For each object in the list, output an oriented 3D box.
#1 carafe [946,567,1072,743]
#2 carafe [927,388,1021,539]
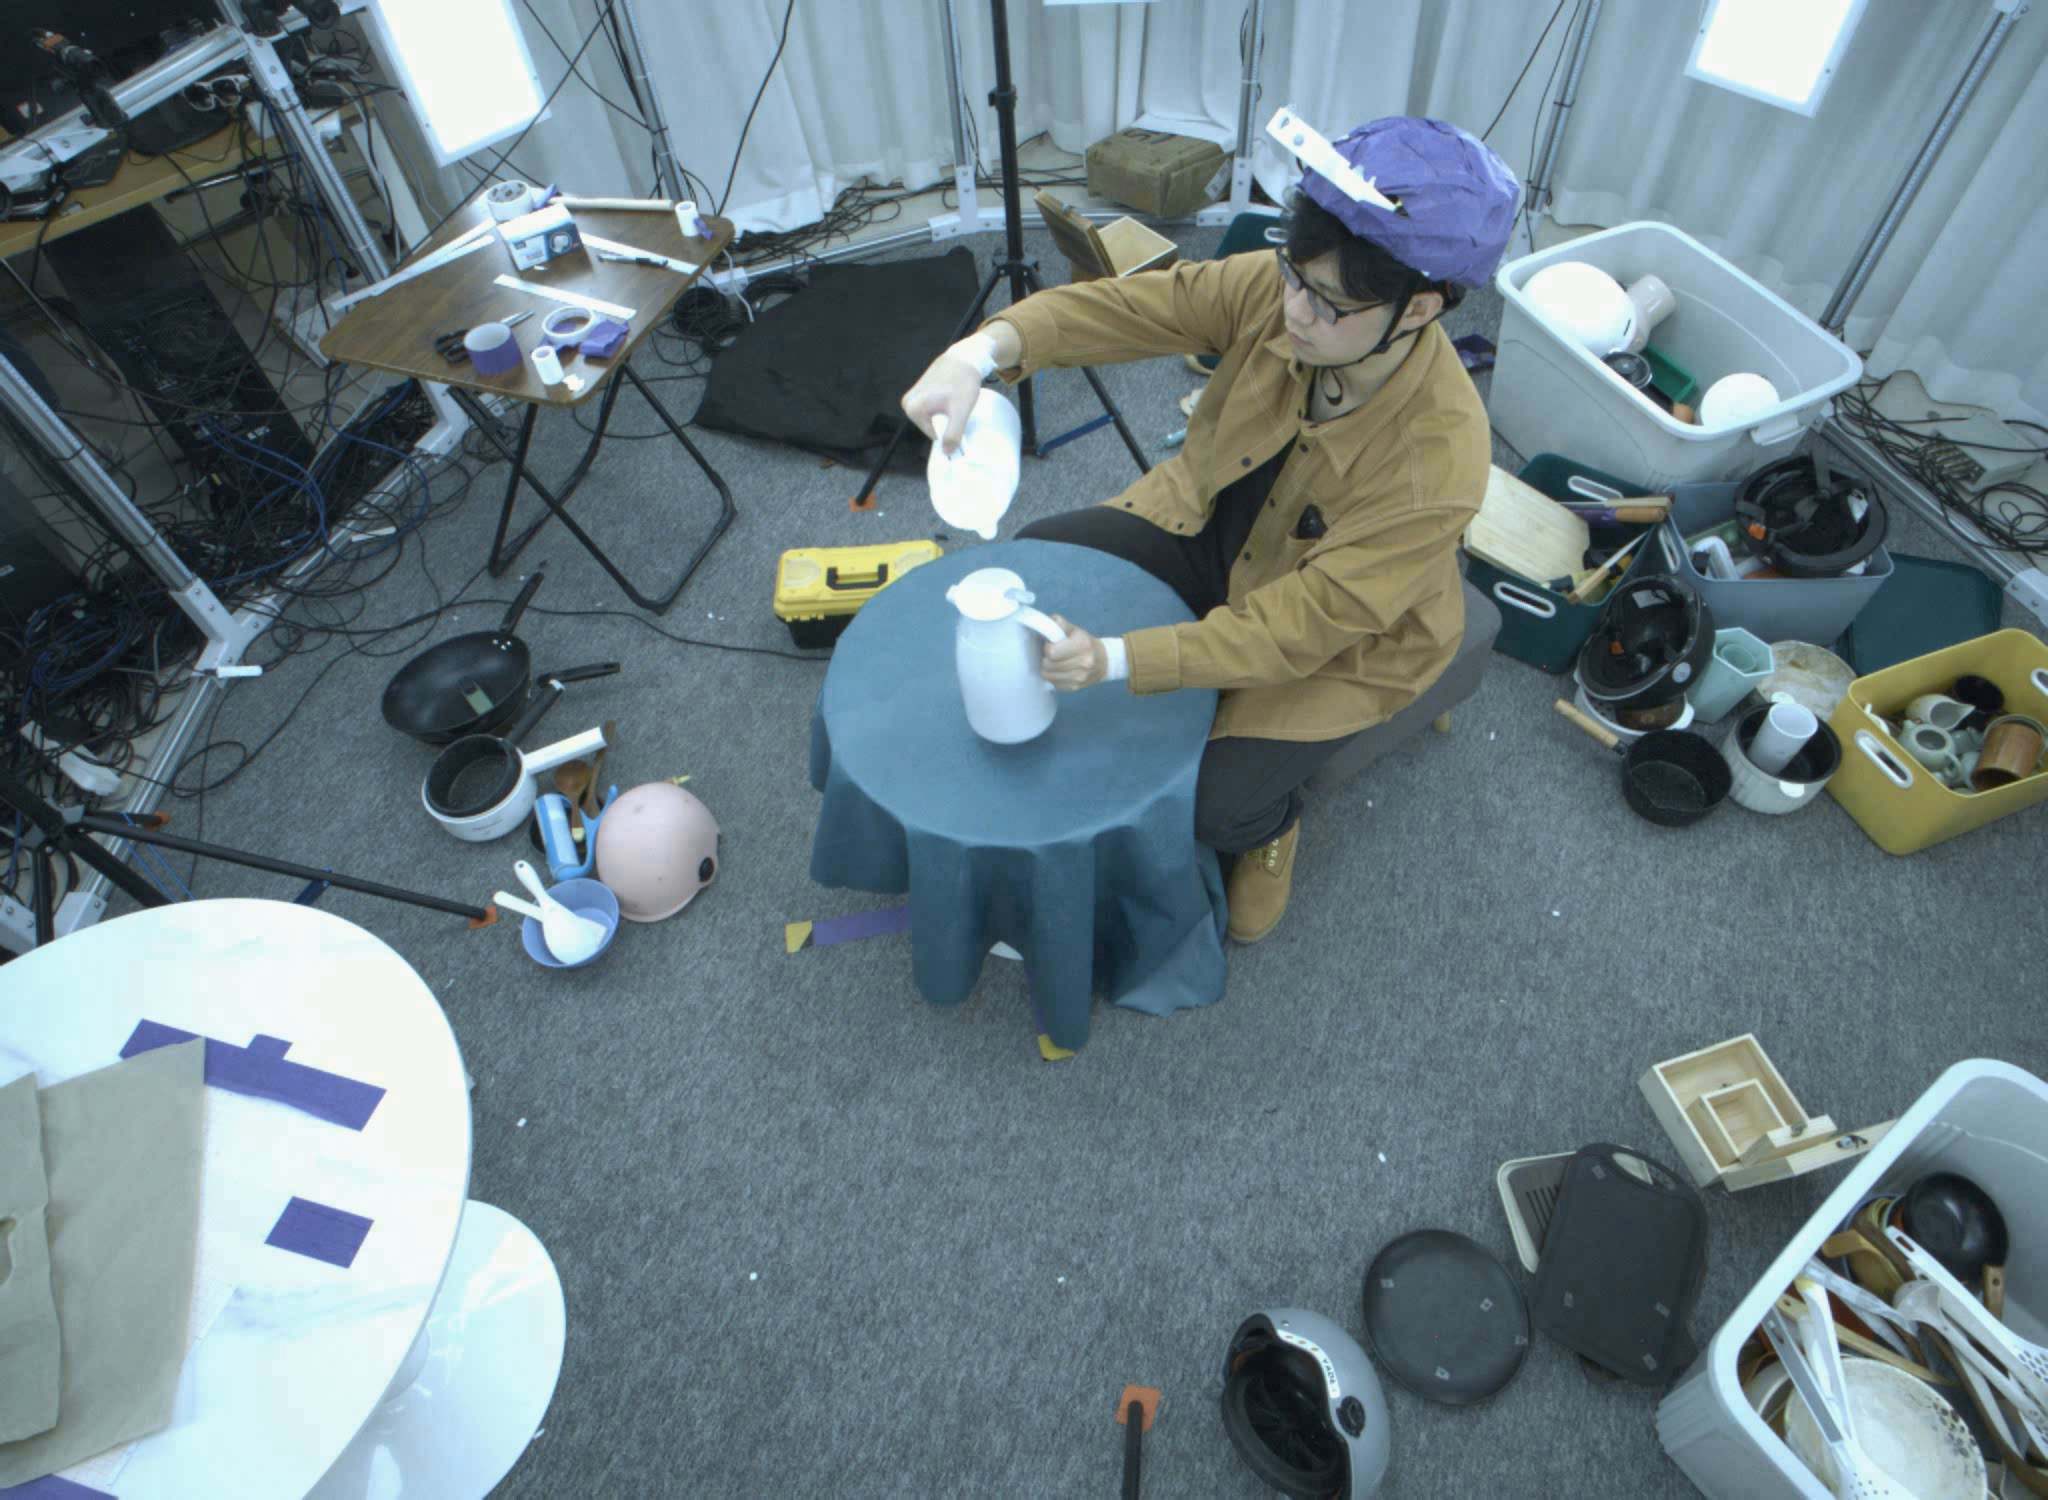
[{"bbox_3d":[-0.014,-0.130,1.656,0.166,0.251,0.132,15,58,16],"label":"carafe"},{"bbox_3d":[-0.073,-0.397,1.582,0.123,0.175,0.266,-16,32,13],"label":"carafe"}]
